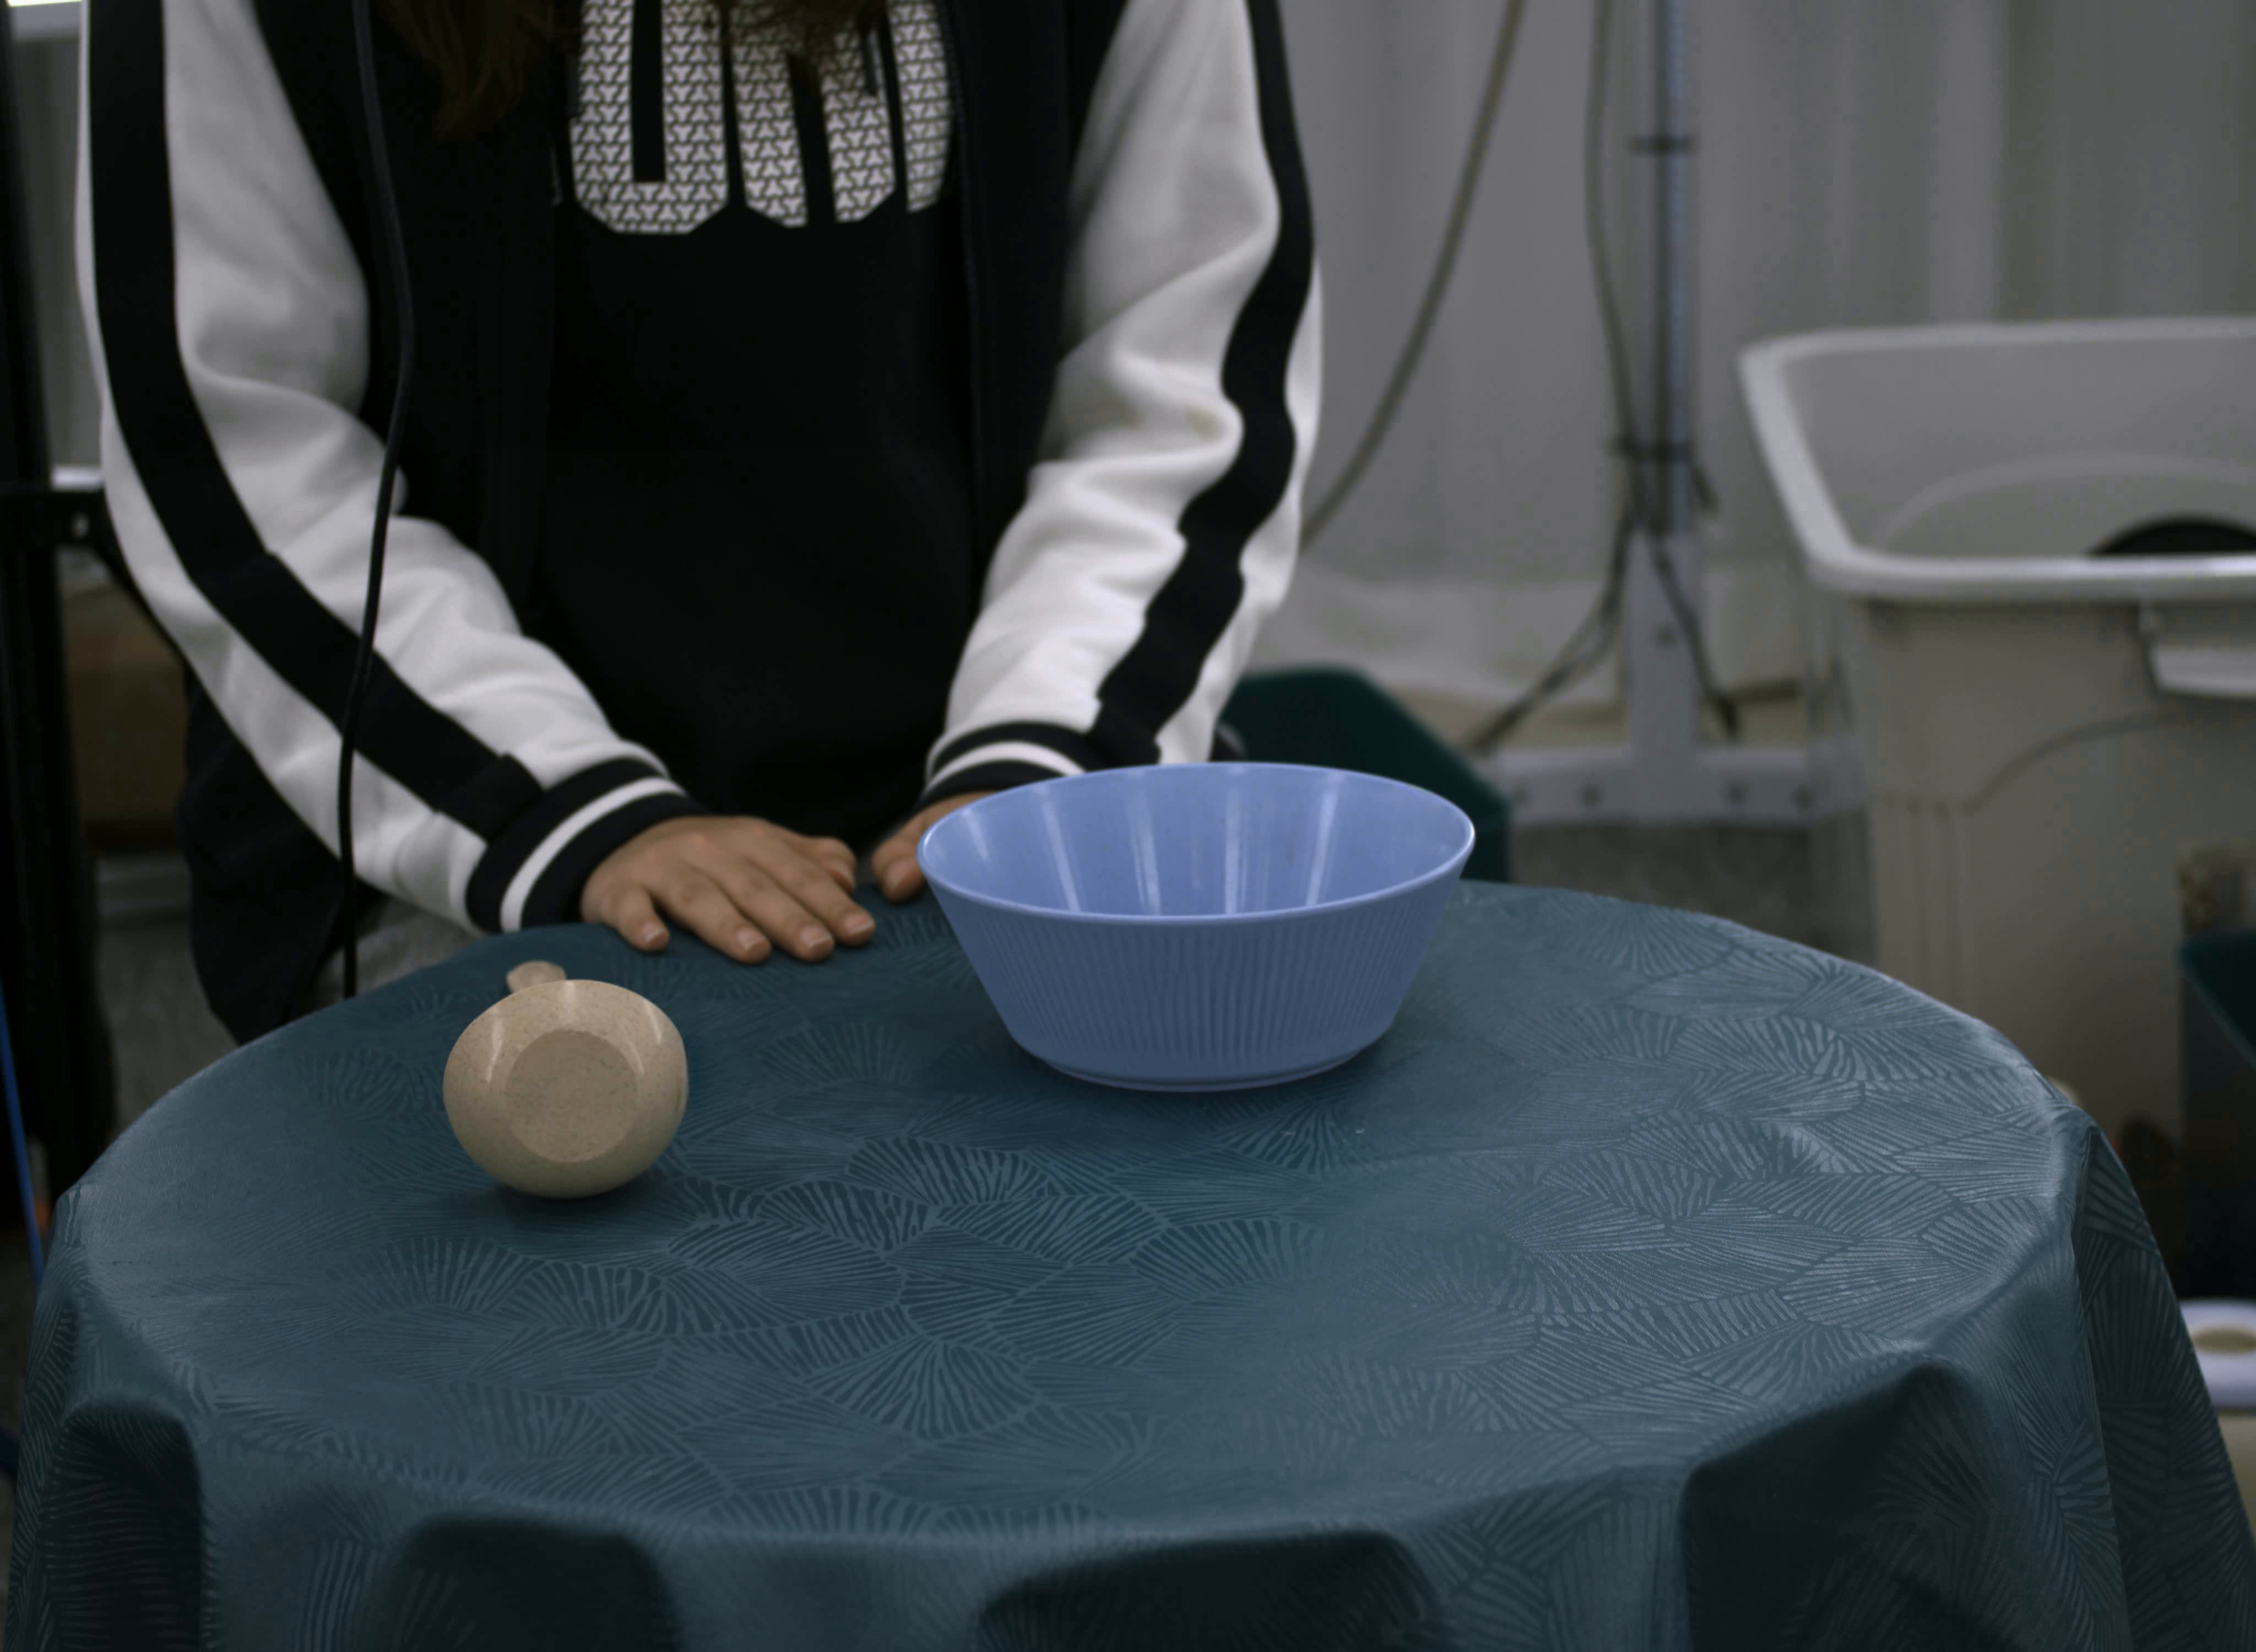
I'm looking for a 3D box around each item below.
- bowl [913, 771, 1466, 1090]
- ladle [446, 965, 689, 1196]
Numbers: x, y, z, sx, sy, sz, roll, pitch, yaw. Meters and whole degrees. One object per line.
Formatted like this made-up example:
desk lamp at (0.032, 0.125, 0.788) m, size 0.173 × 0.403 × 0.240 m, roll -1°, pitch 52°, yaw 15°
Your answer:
bowl at (0.020, 0.035, 1.684) m, size 0.175 × 0.070 × 0.177 m, roll -2°, pitch 16°, yaw -1°
ladle at (-0.185, 0.049, 1.663) m, size 0.071 × 0.073 × 0.257 m, roll -10°, pitch 16°, yaw -9°
